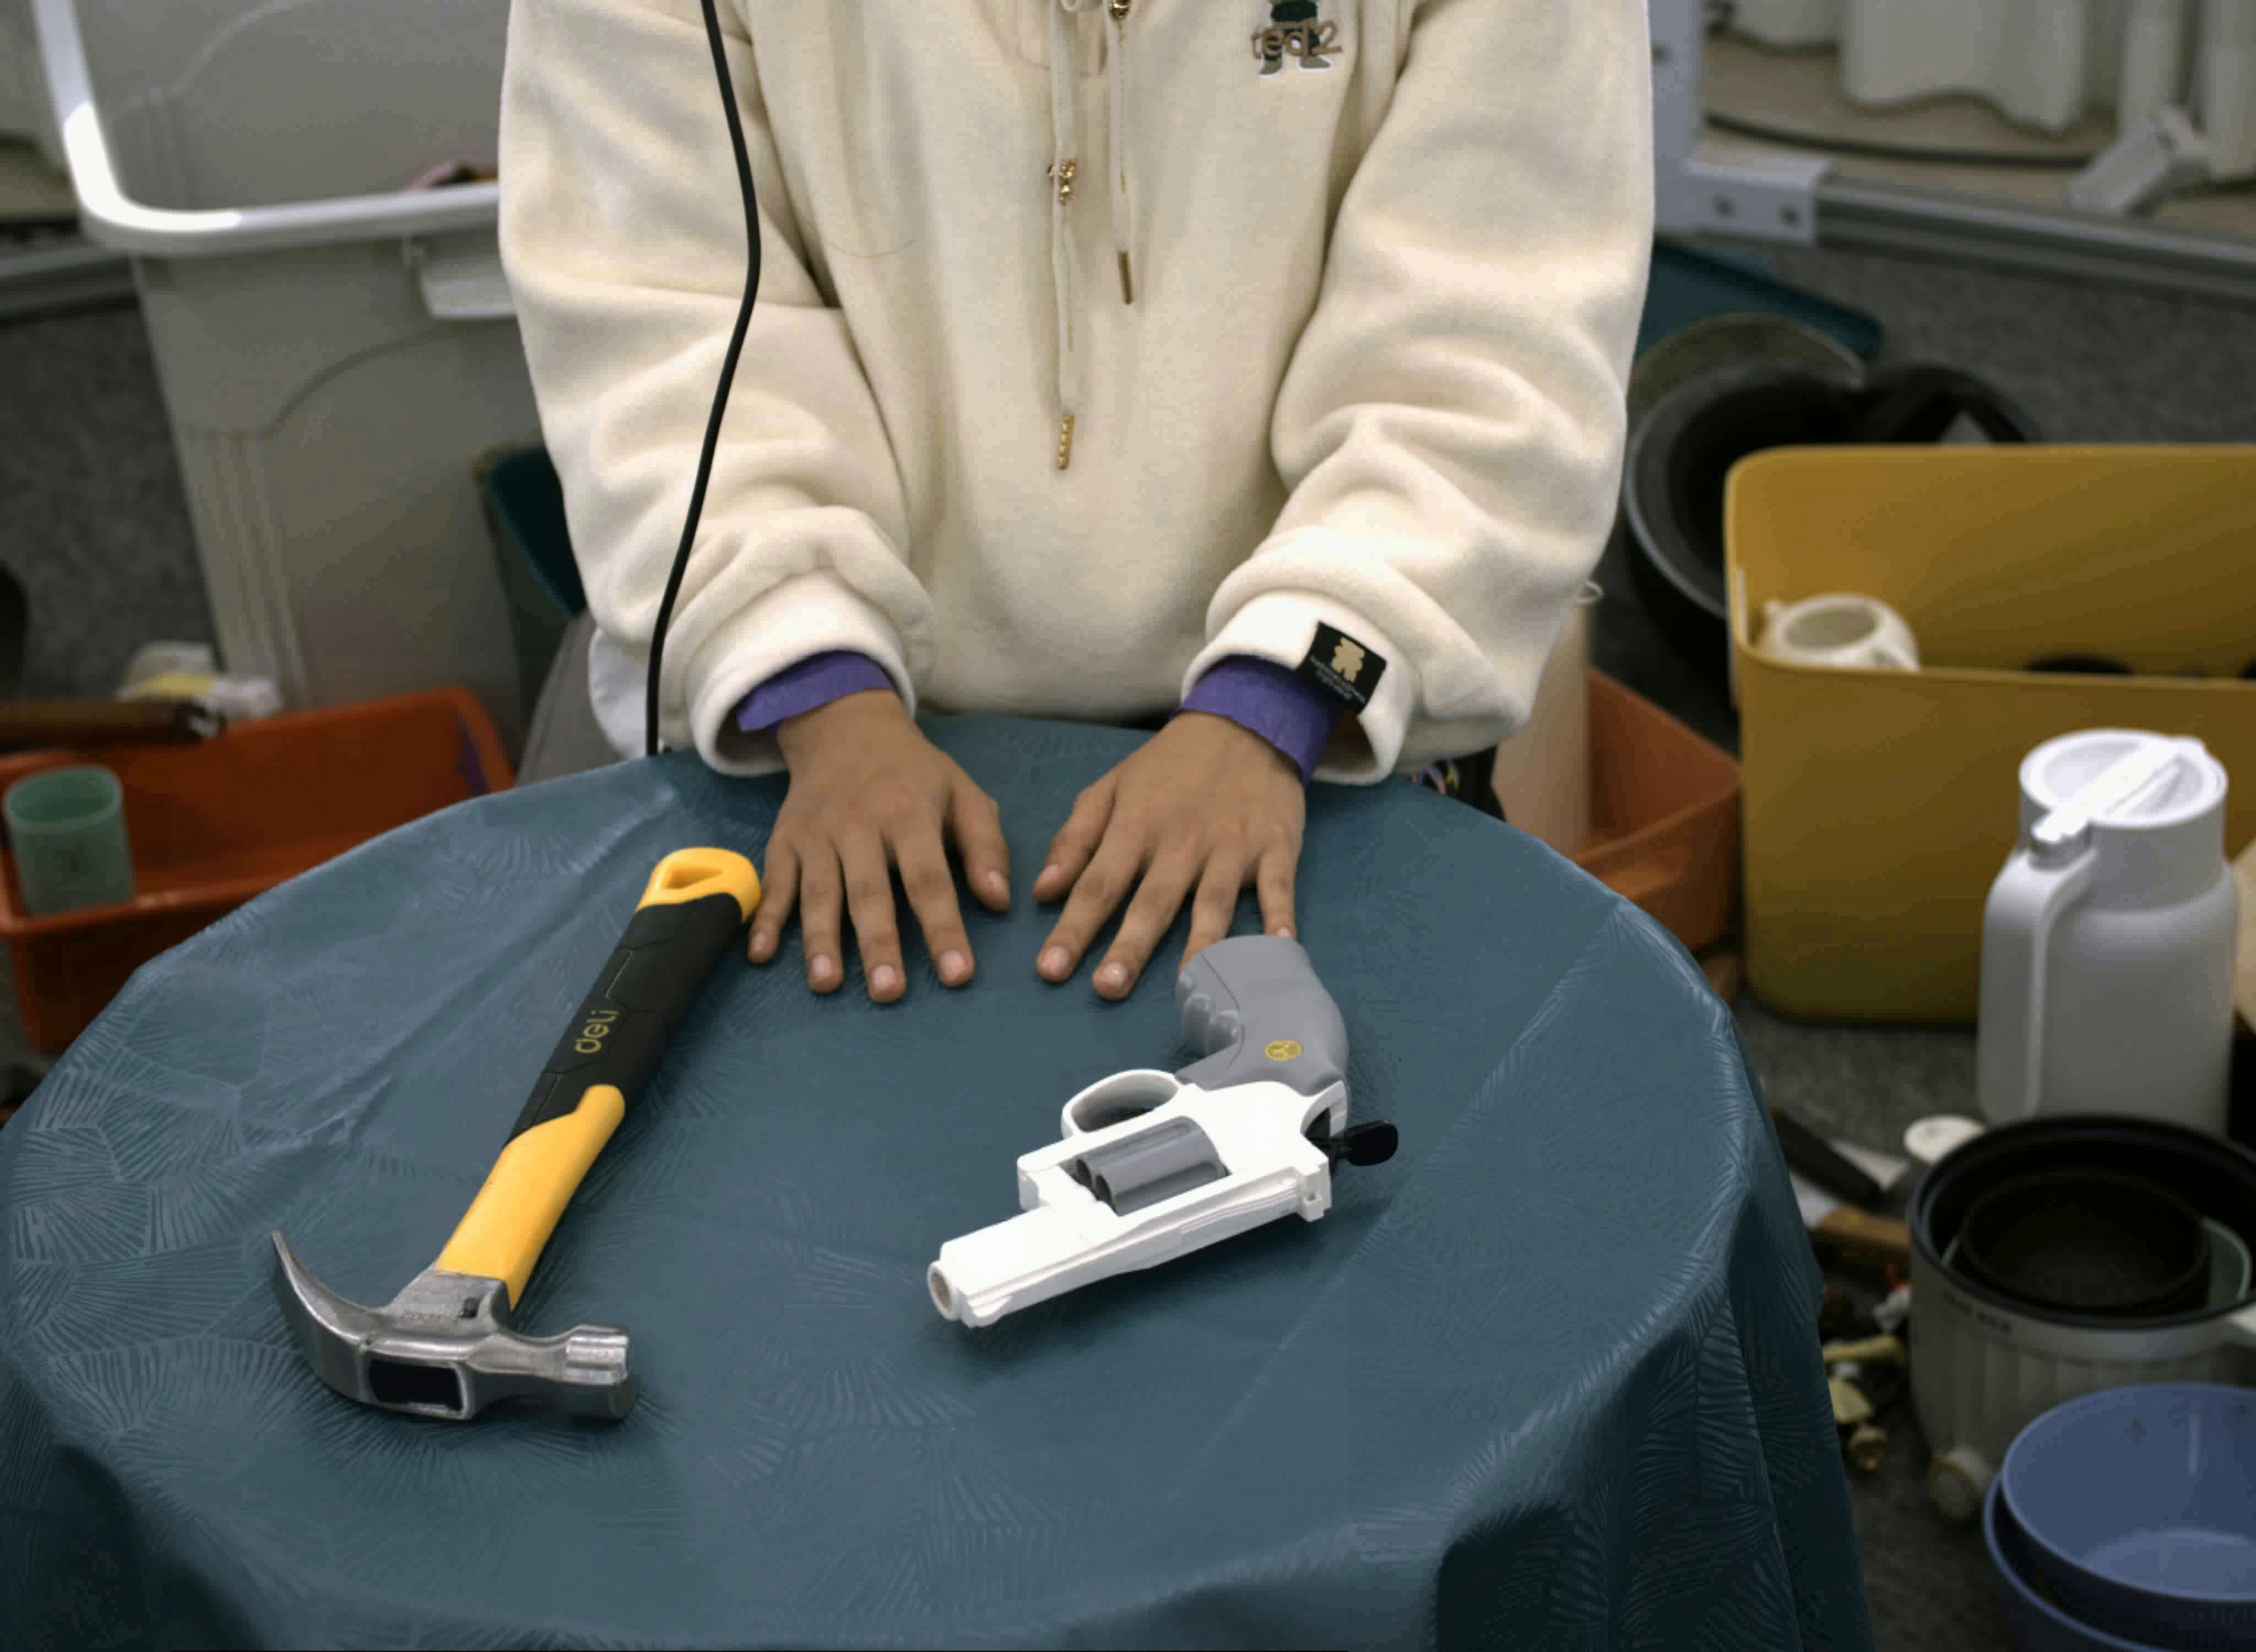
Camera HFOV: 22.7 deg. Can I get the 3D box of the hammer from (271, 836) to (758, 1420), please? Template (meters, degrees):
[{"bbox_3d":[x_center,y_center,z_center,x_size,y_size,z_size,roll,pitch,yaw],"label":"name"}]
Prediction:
[{"bbox_3d":[-0.187,0.094,1.895,0.130,0.032,0.344,1,29,13],"label":"hammer"}]

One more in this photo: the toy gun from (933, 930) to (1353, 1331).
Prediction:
[{"bbox_3d":[0.004,0.100,1.859,0.210,0.038,0.142,-19,32,-28],"label":"toy gun"}]
